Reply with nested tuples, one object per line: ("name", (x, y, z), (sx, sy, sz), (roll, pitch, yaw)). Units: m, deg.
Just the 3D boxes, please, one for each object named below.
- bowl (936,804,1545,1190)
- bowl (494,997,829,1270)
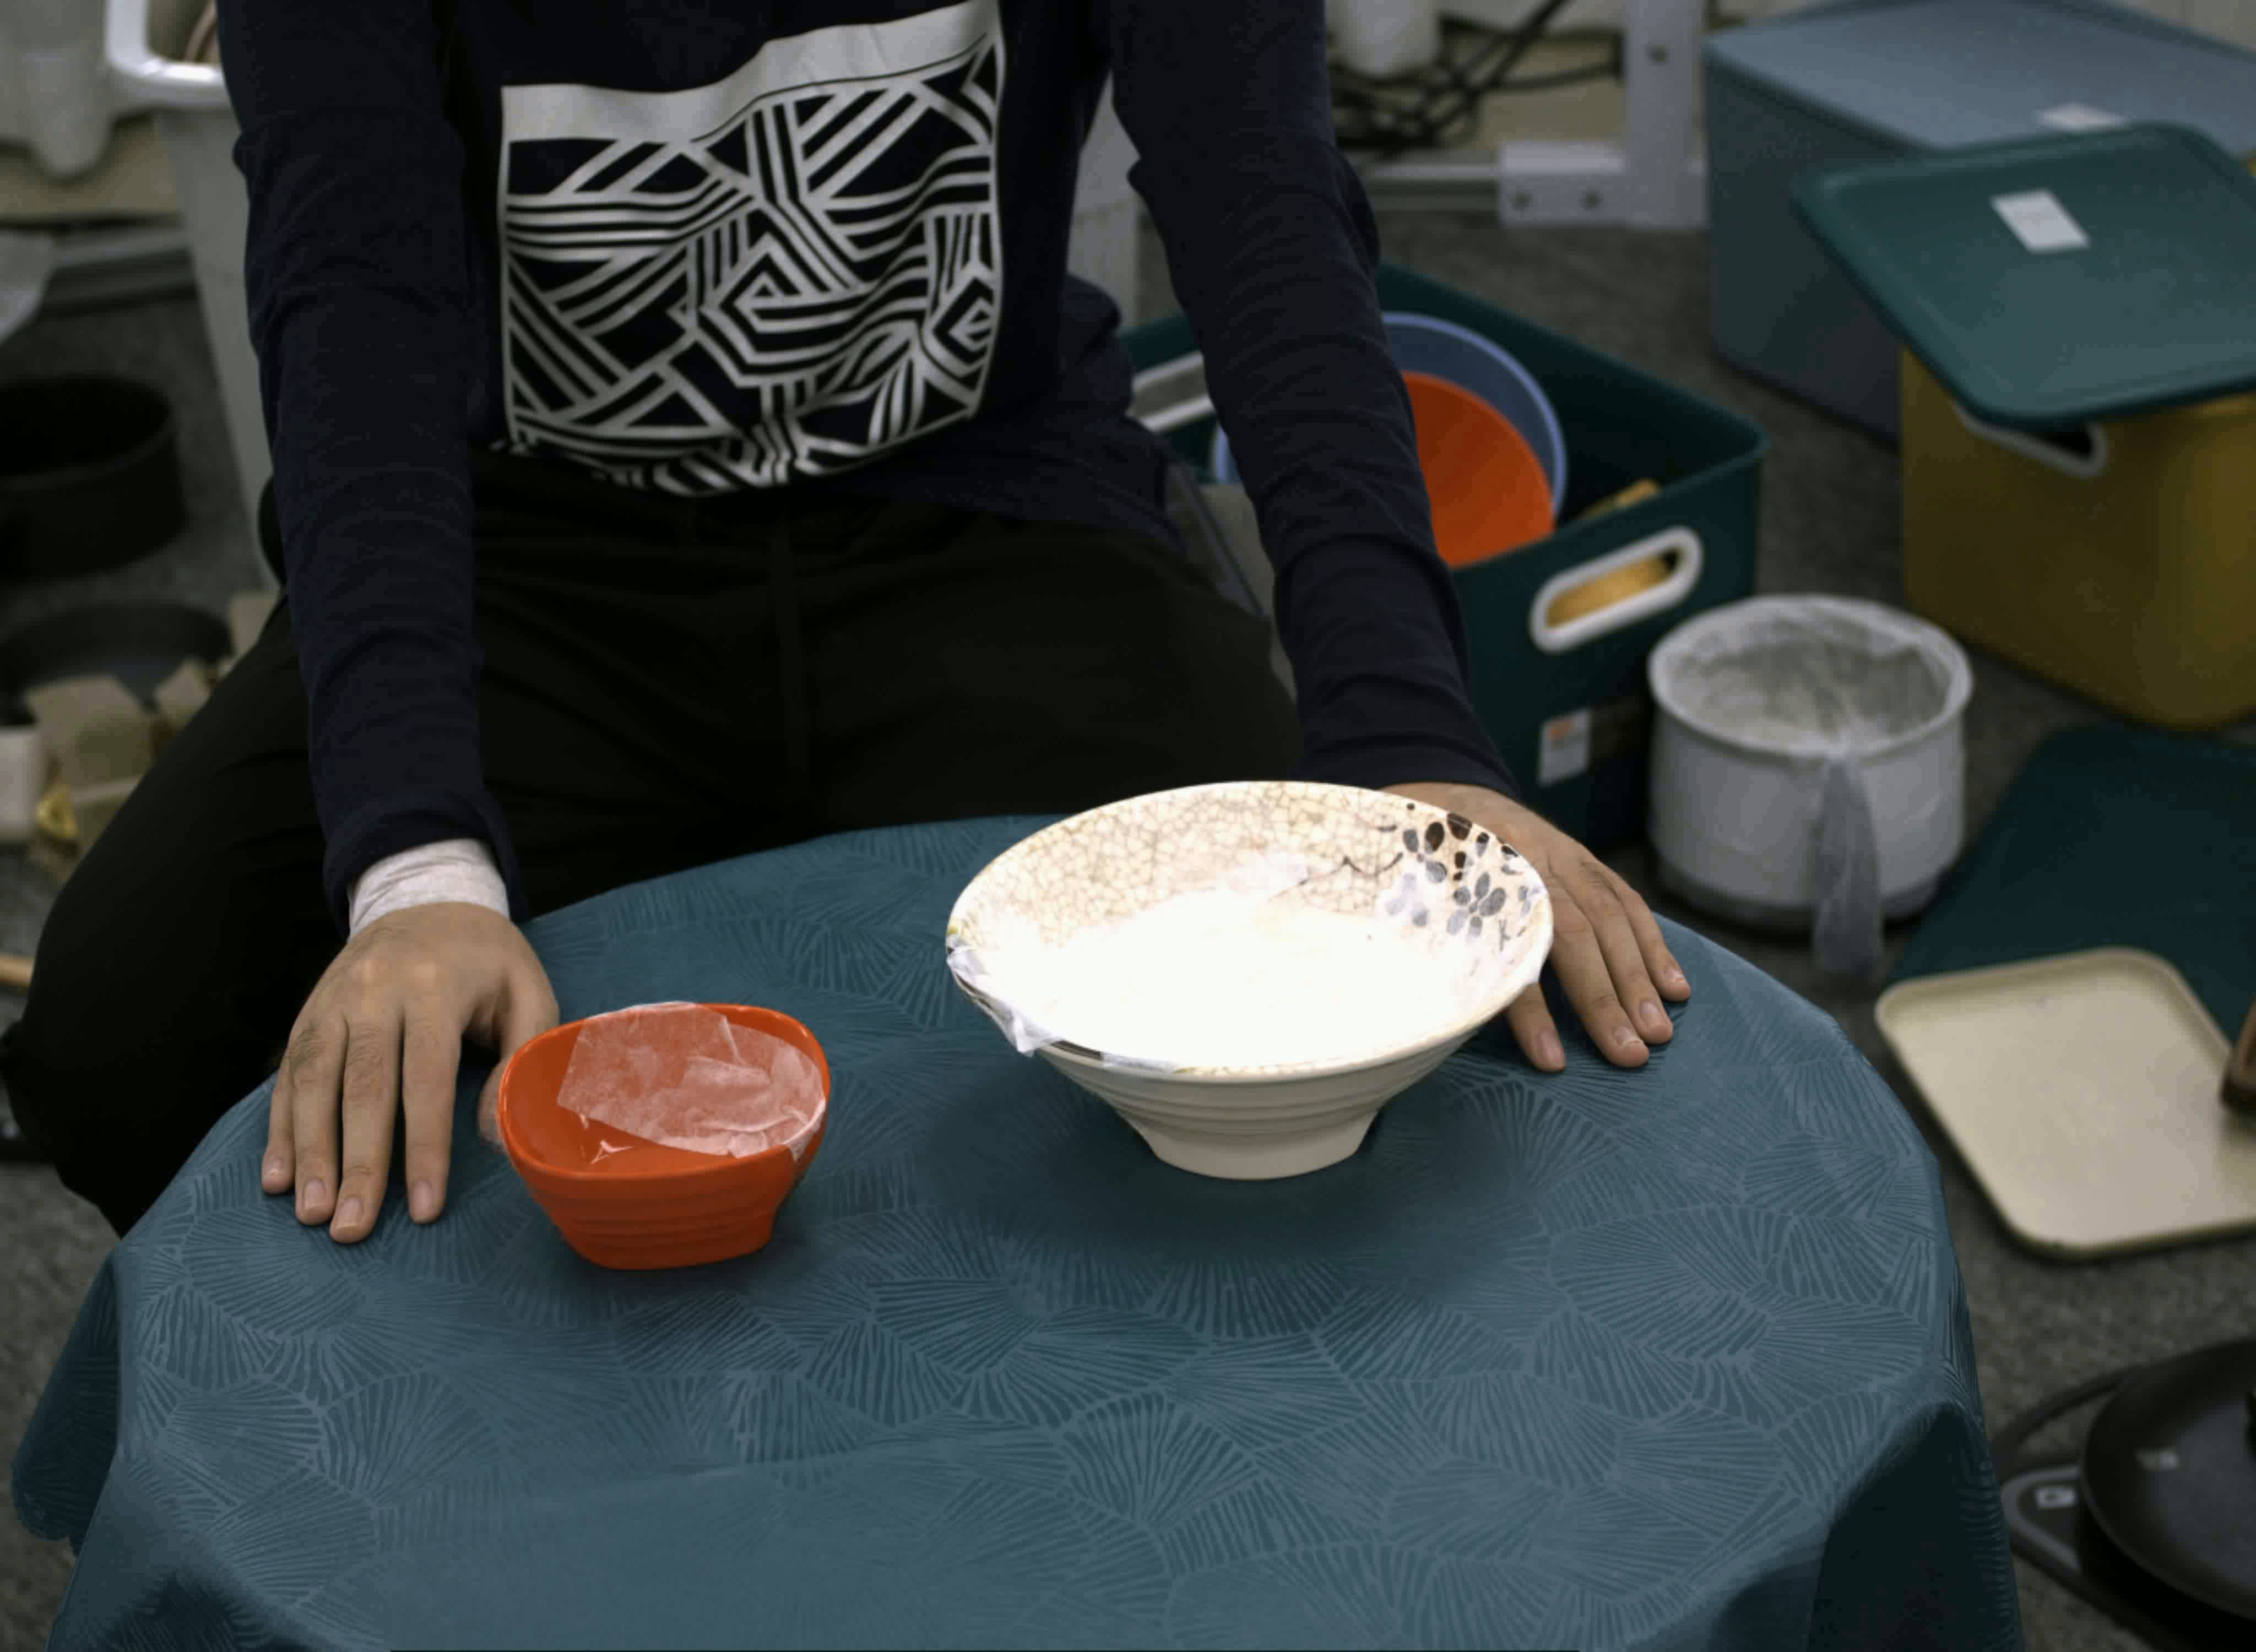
("bowl", (0.037, 0.068, 1.884), (0.203, 0.077, 0.207), (0, 23, 0))
("bowl", (-0.151, 0.106, 1.849), (0.118, 0.051, 0.121), (-3, 28, 2))
